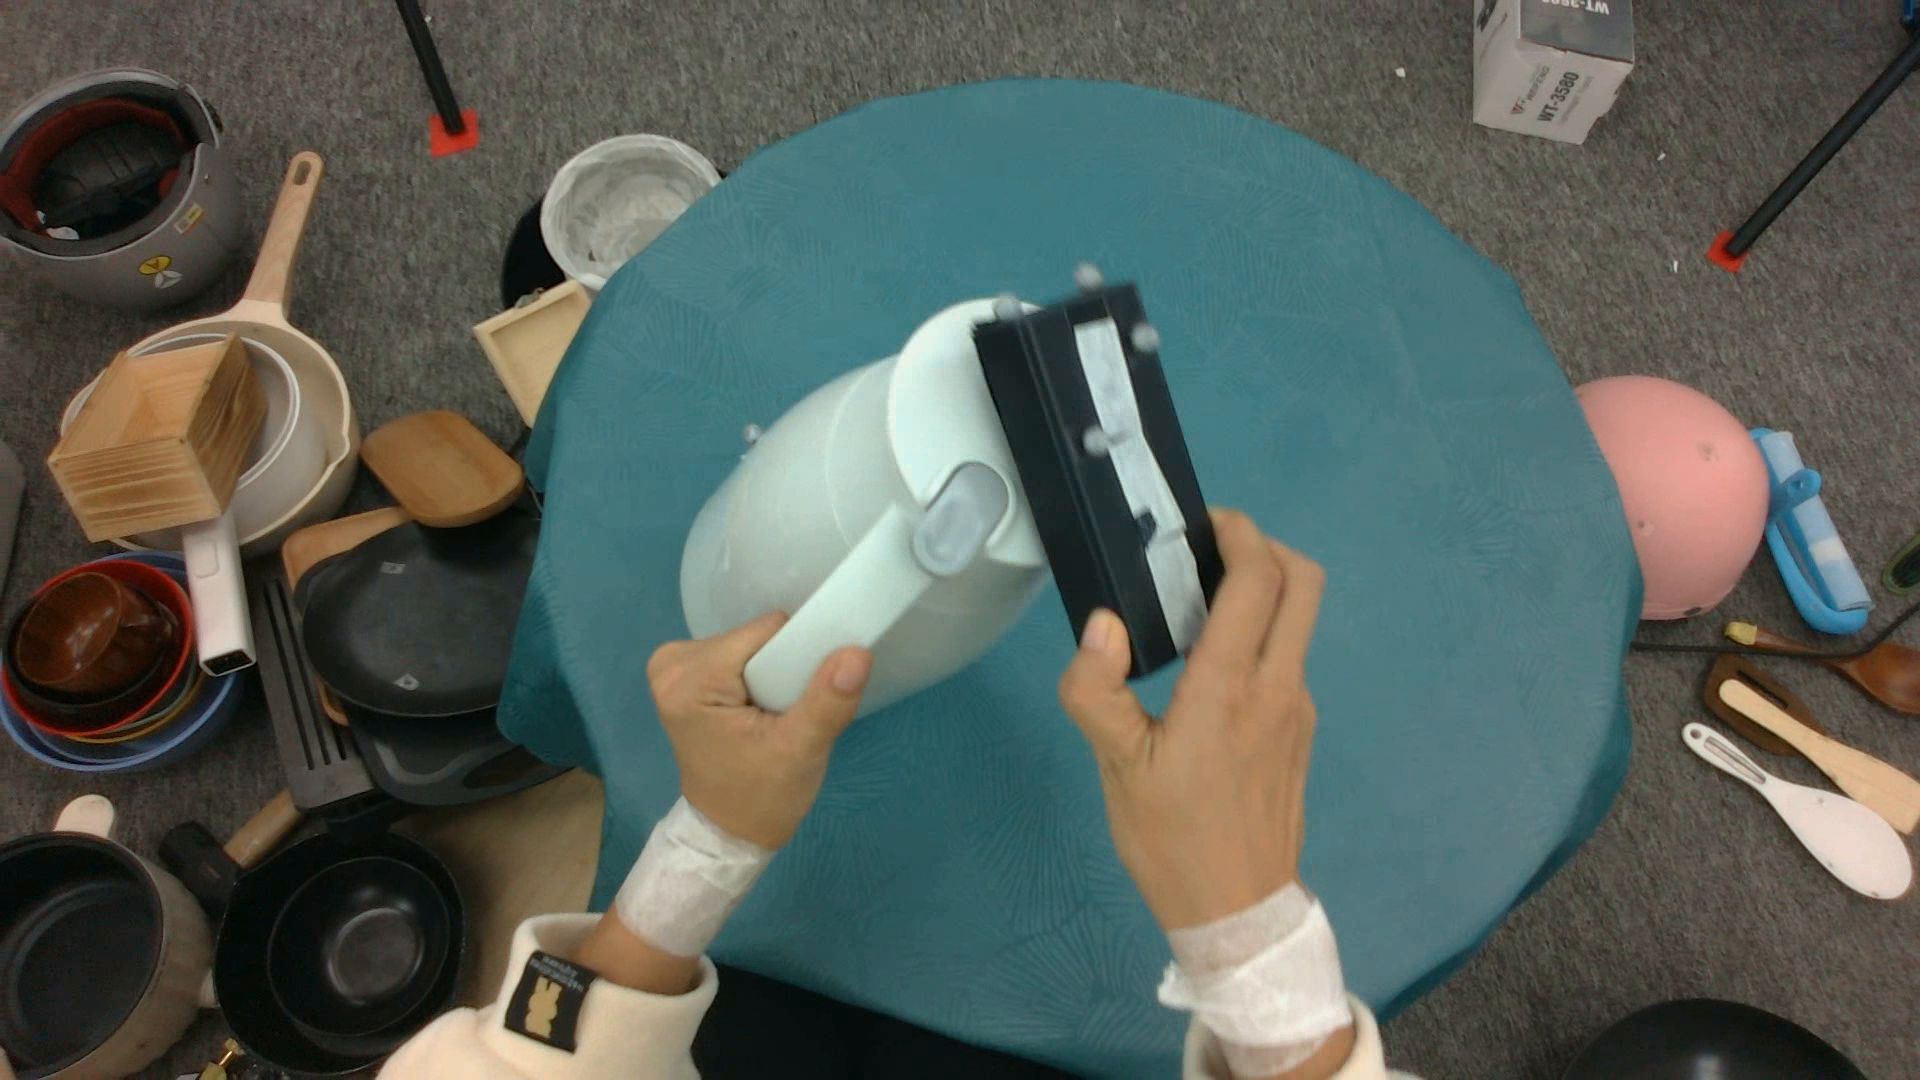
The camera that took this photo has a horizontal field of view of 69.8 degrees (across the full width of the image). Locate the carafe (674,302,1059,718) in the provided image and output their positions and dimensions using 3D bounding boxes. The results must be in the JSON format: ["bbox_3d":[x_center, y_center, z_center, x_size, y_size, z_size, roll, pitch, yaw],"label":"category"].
[{"bbox_3d":[-0.035,0.004,0.547,0.132,0.247,0.168,43,65,-8],"label":"carafe"}]

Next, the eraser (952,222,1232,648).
[{"bbox_3d":[0.043,-0.033,0.438,0.054,0.030,0.125,-28,103,-30],"label":"eraser"}]
